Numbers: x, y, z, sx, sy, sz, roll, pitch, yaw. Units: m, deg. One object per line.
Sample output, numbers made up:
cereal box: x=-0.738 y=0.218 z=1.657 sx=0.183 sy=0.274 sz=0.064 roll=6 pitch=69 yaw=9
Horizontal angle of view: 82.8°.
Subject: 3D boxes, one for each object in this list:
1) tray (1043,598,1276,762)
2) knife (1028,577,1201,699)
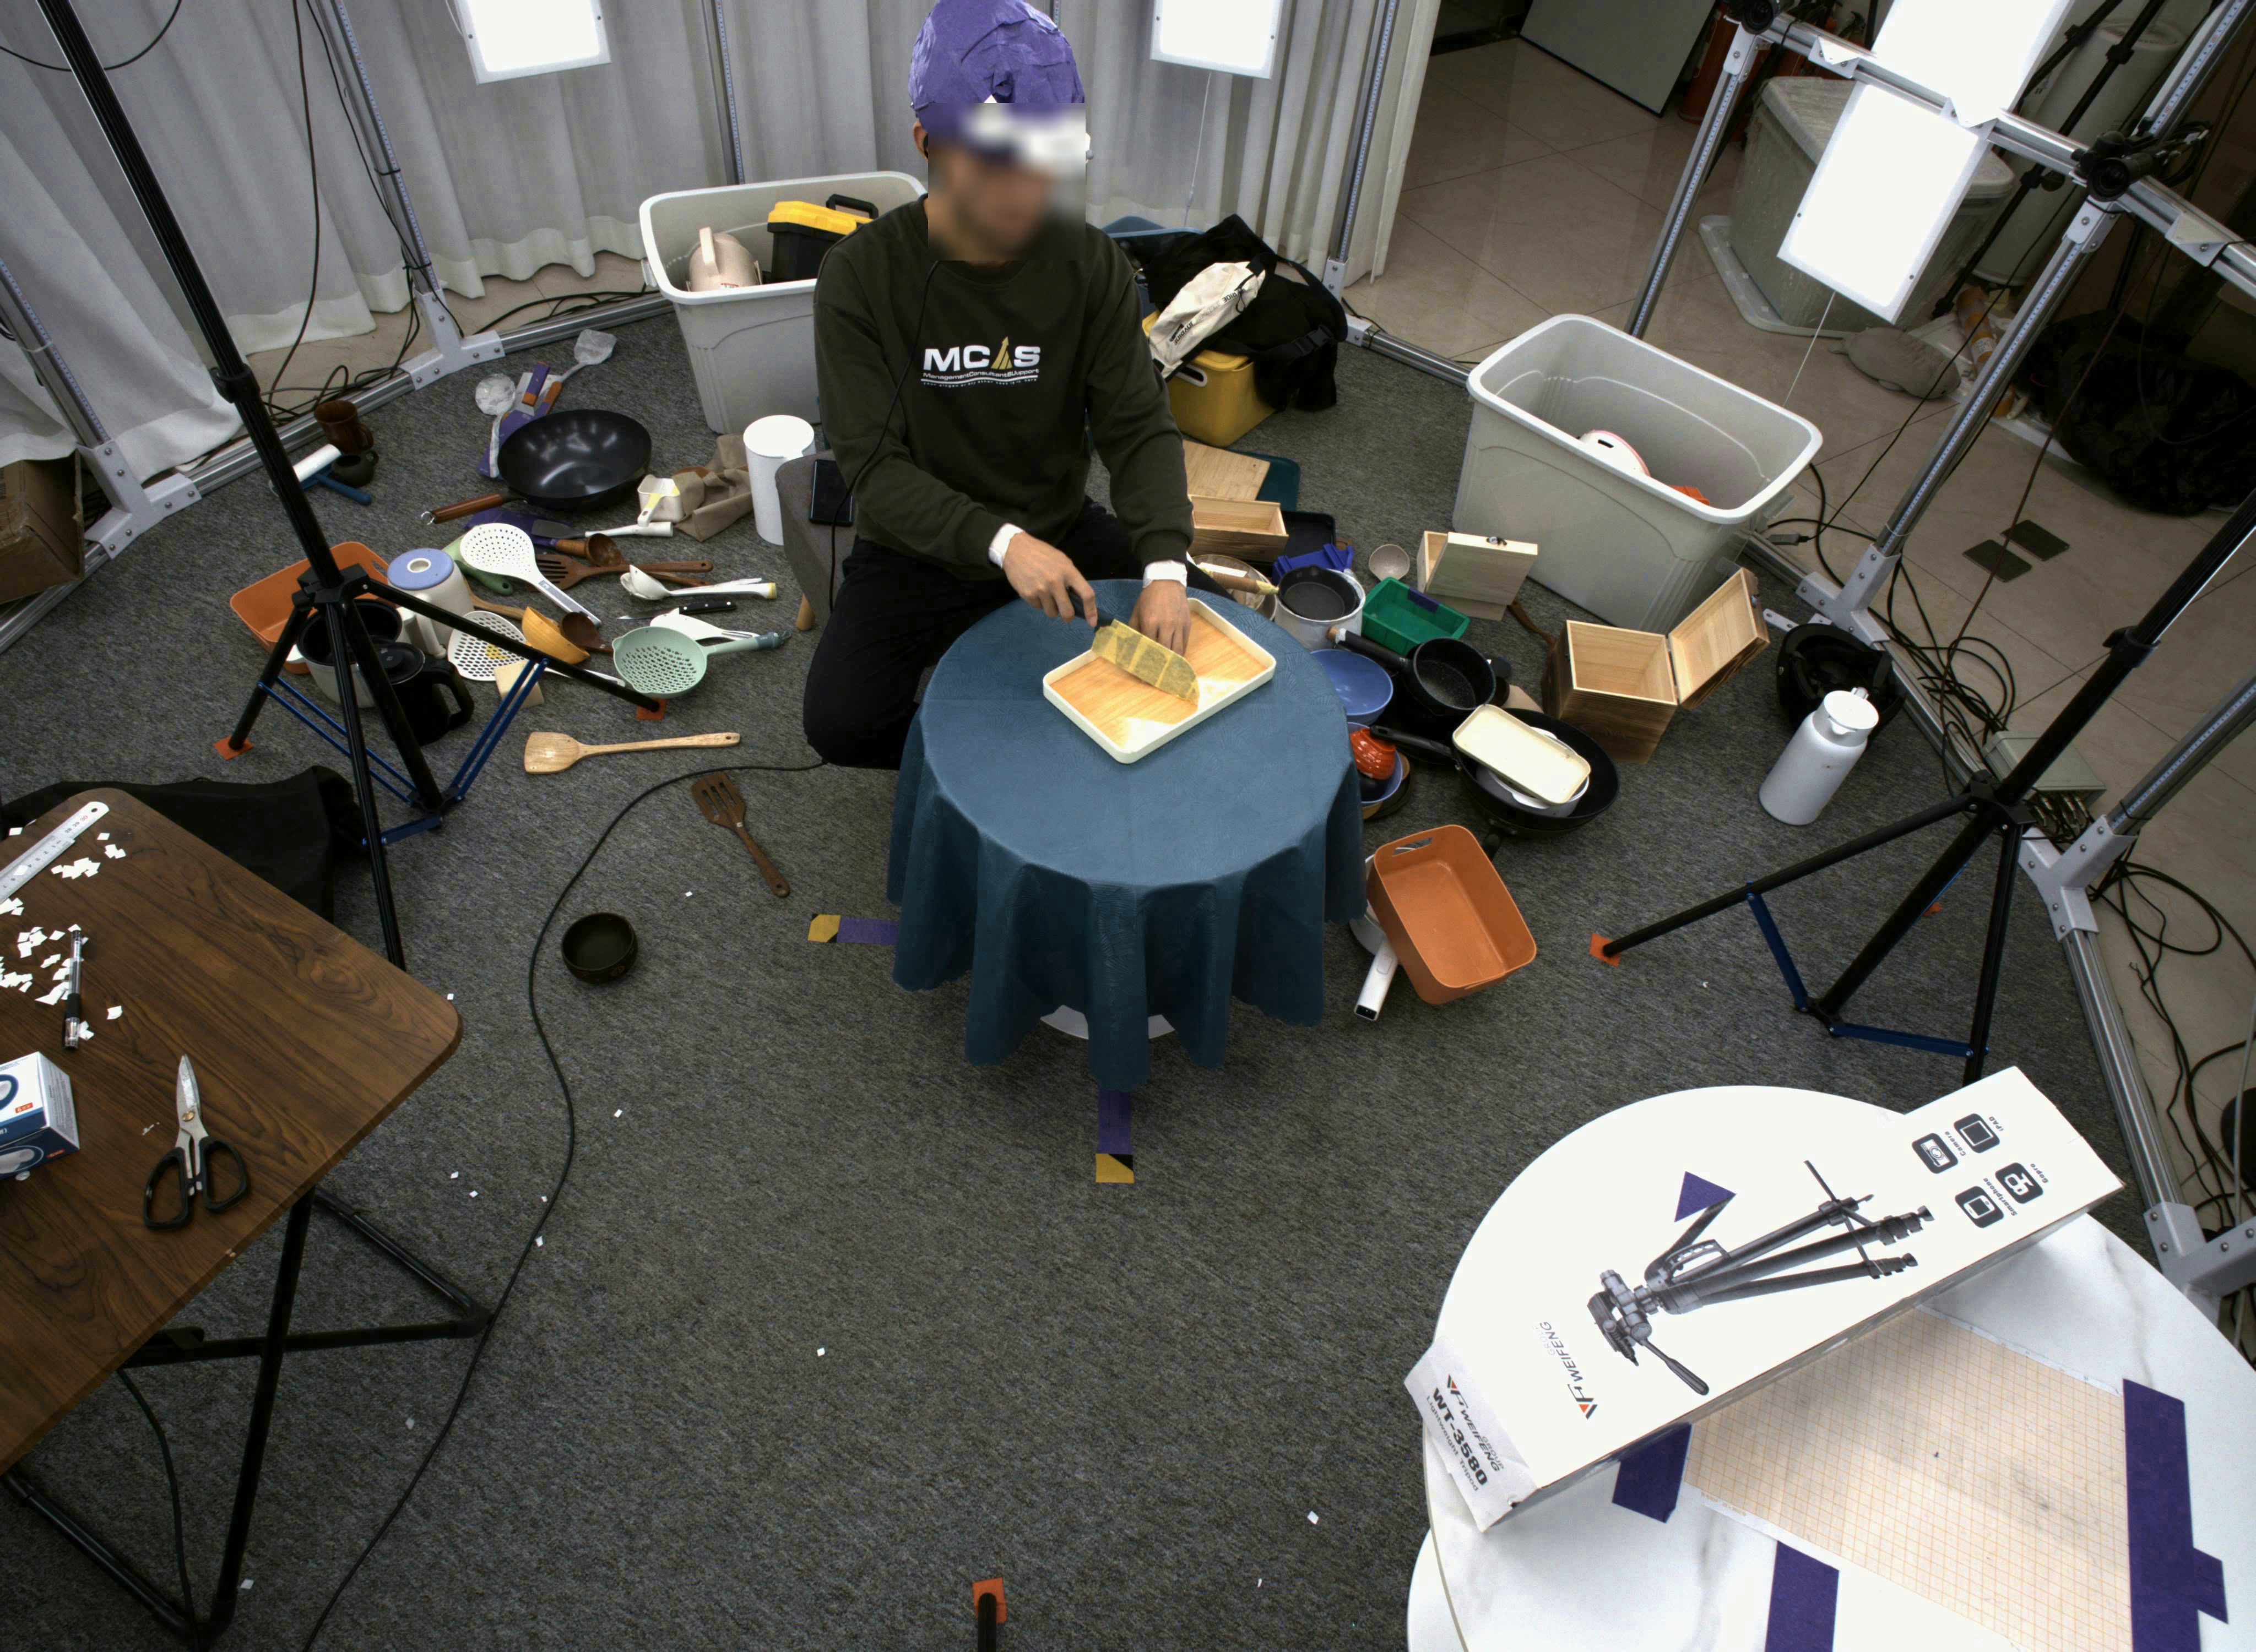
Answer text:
tray: x=0.046 y=-0.215 z=1.840 sx=0.302 sy=0.027 sz=0.195 roll=-32 pitch=57 yaw=-28
knife: x=-0.020 y=-0.263 z=1.810 sx=0.290 sy=0.079 sz=0.028 roll=33 pitch=45 yaw=5
